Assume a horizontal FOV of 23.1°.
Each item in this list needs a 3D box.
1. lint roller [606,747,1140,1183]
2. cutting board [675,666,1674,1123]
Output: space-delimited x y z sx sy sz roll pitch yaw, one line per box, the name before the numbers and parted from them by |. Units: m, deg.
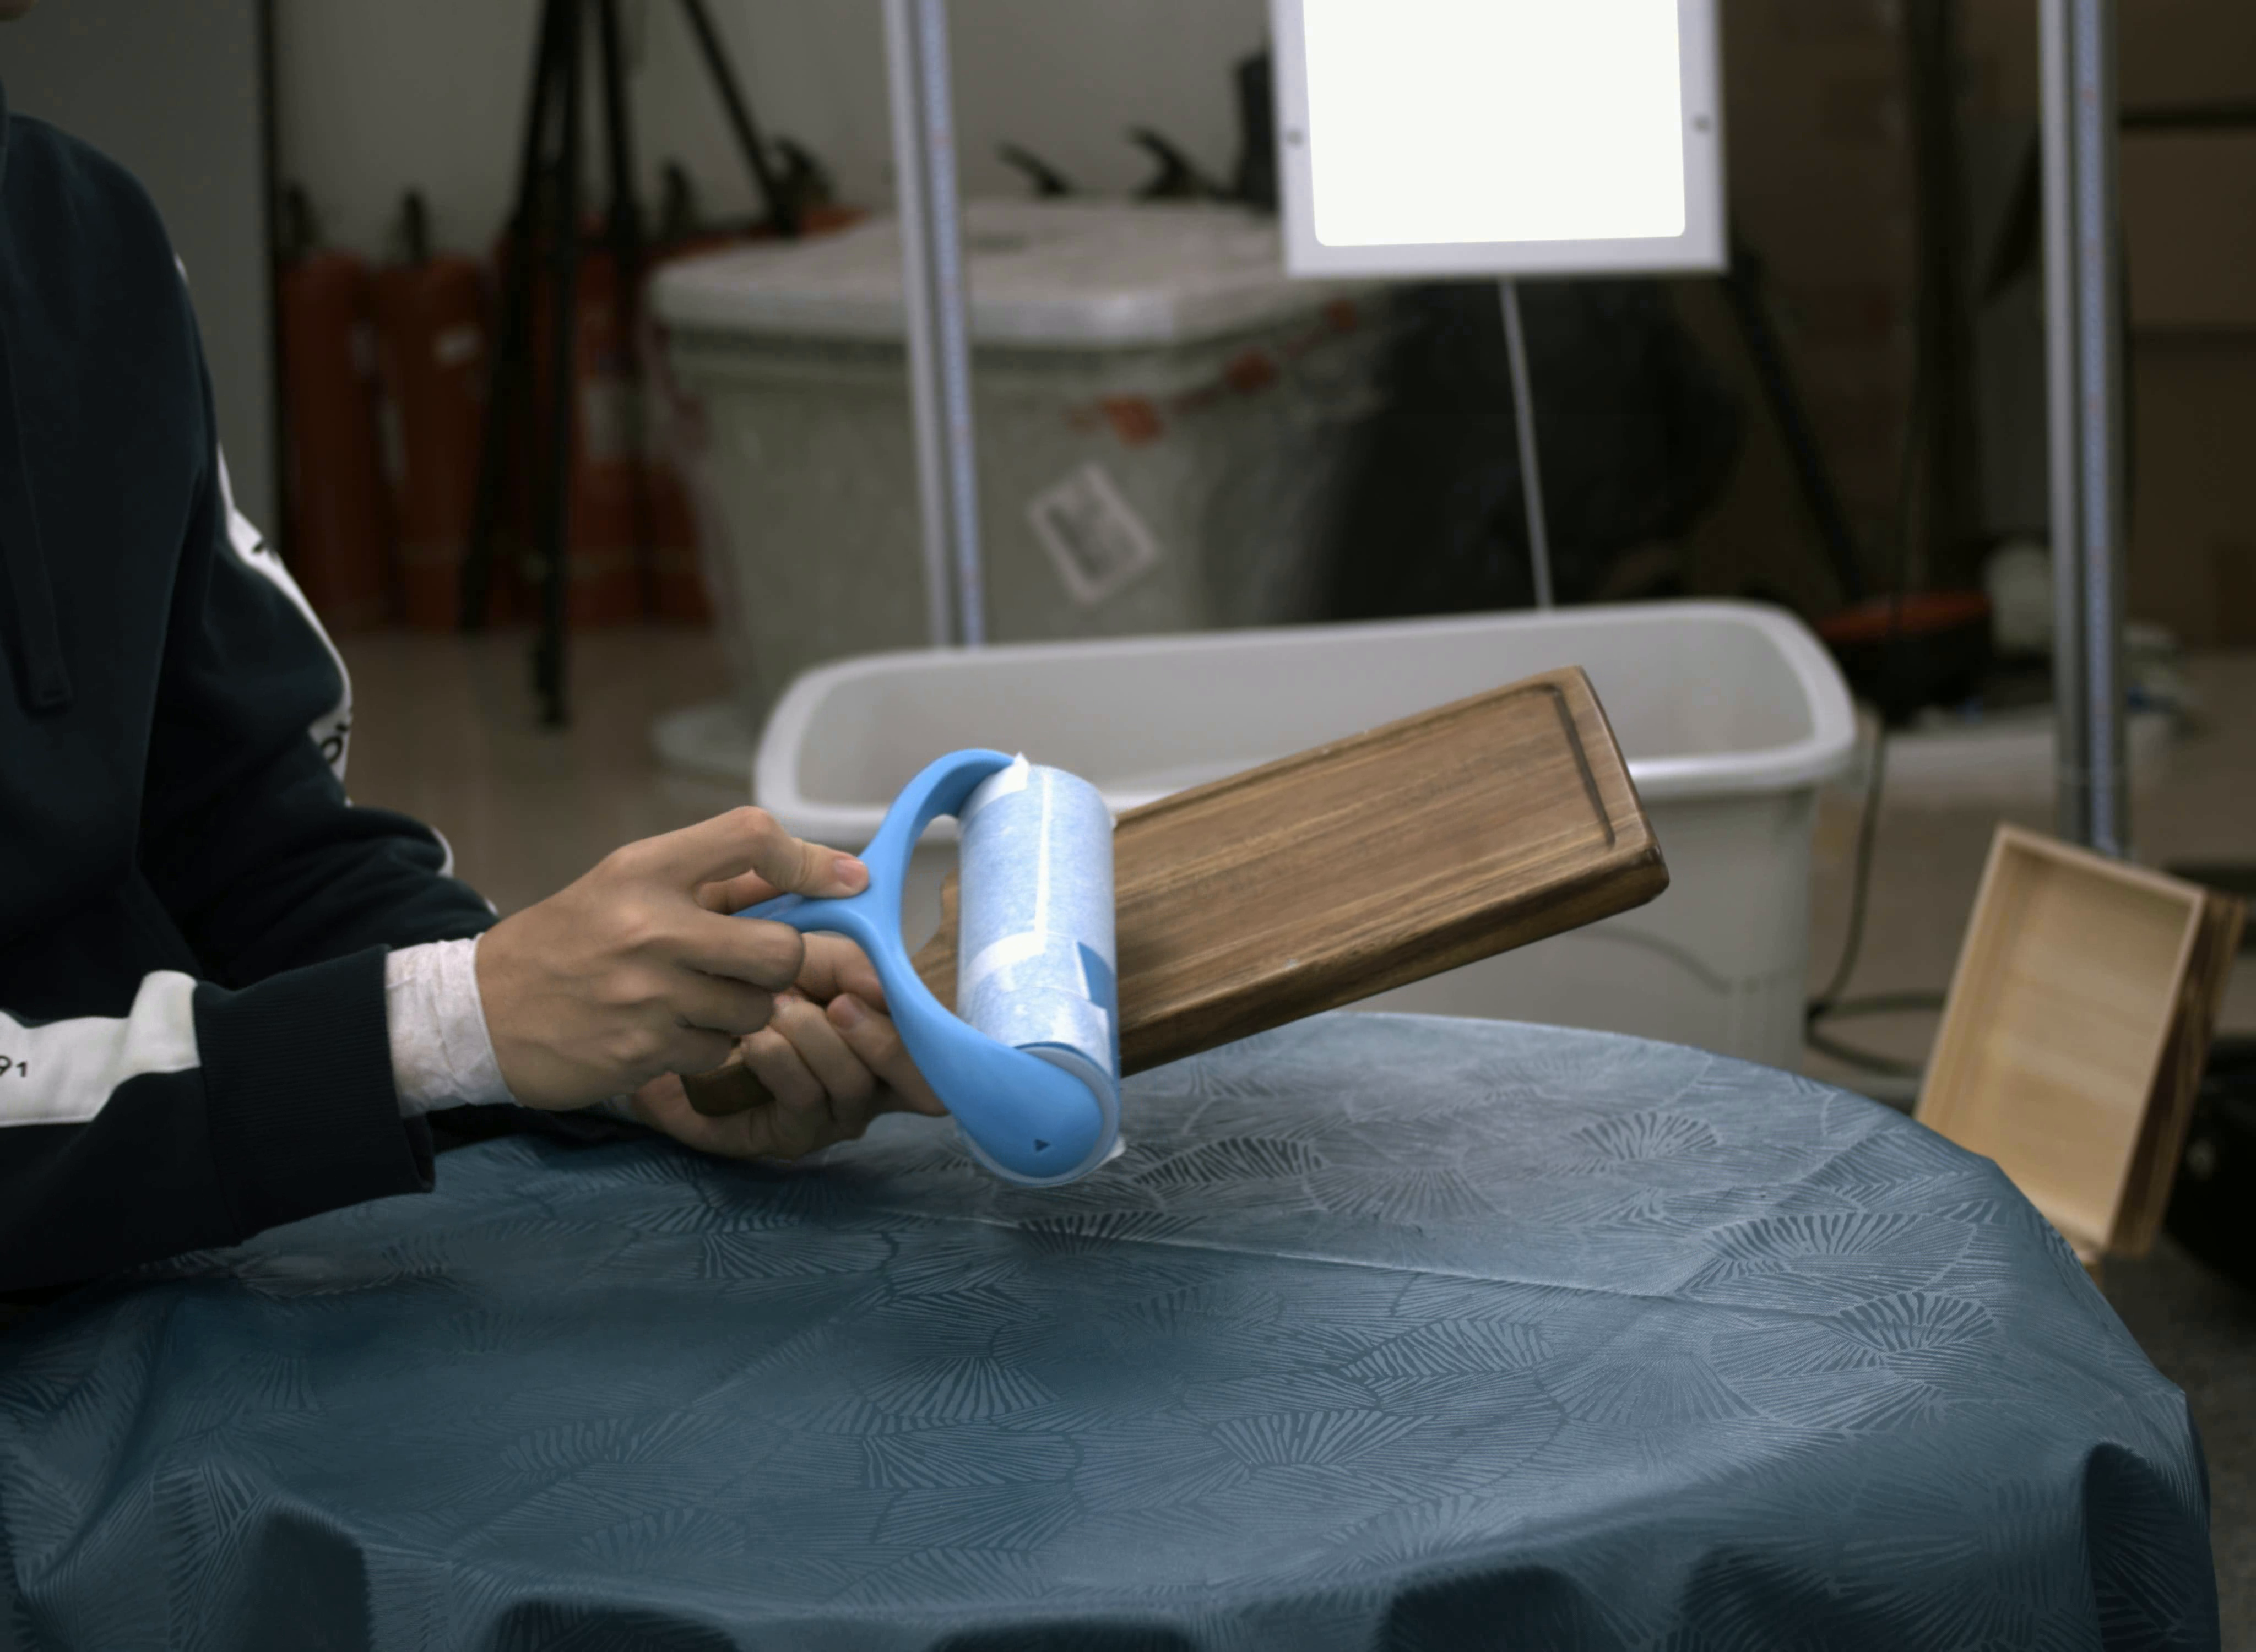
lint roller | -0.086 0.048 1.829 0.179 0.068 0.228 -4 30 -1
cutting board | 0.009 0.035 1.921 0.353 0.023 0.201 -19 20 5
